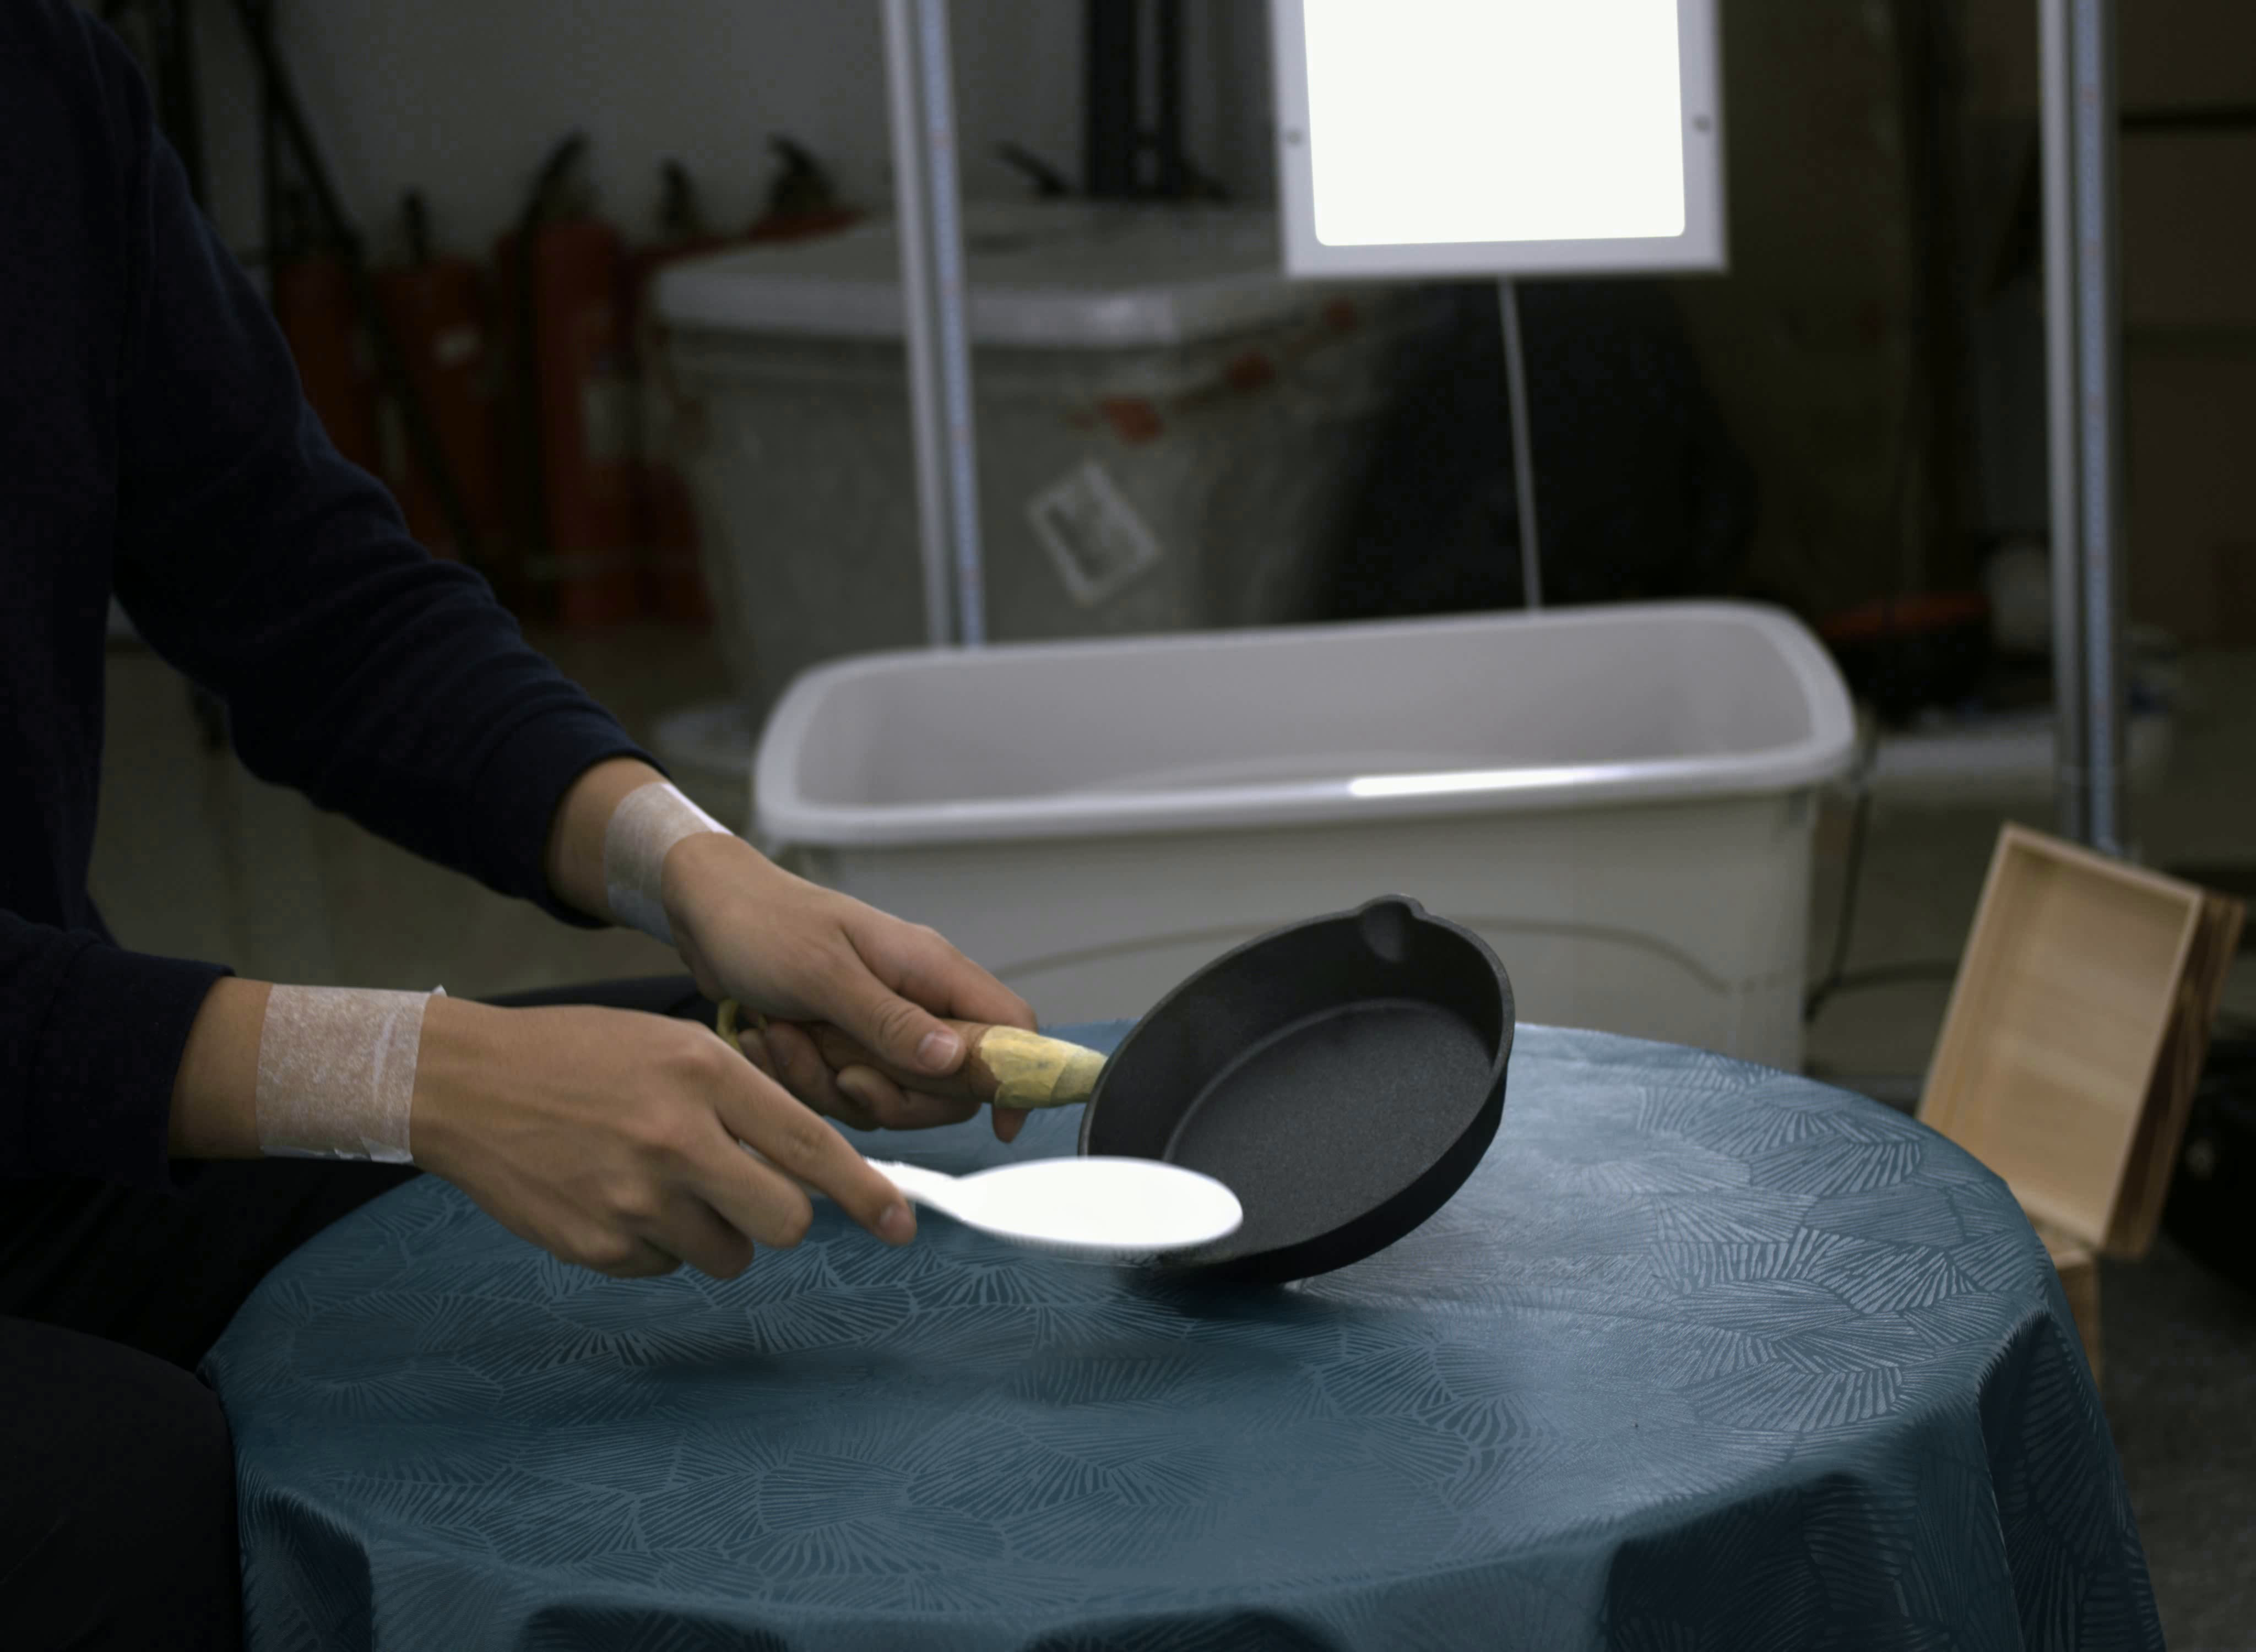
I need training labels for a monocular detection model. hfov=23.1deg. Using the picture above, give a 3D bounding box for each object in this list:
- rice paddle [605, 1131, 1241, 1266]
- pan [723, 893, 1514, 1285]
[{"bbox_3d":[-0.064,0.117,1.739,0.207,0.029,0.068,3,20,15],"label":"rice paddle"},{"bbox_3d":[-0.008,0.084,1.869,0.331,0.049,0.166,4,48,39],"label":"pan"}]
